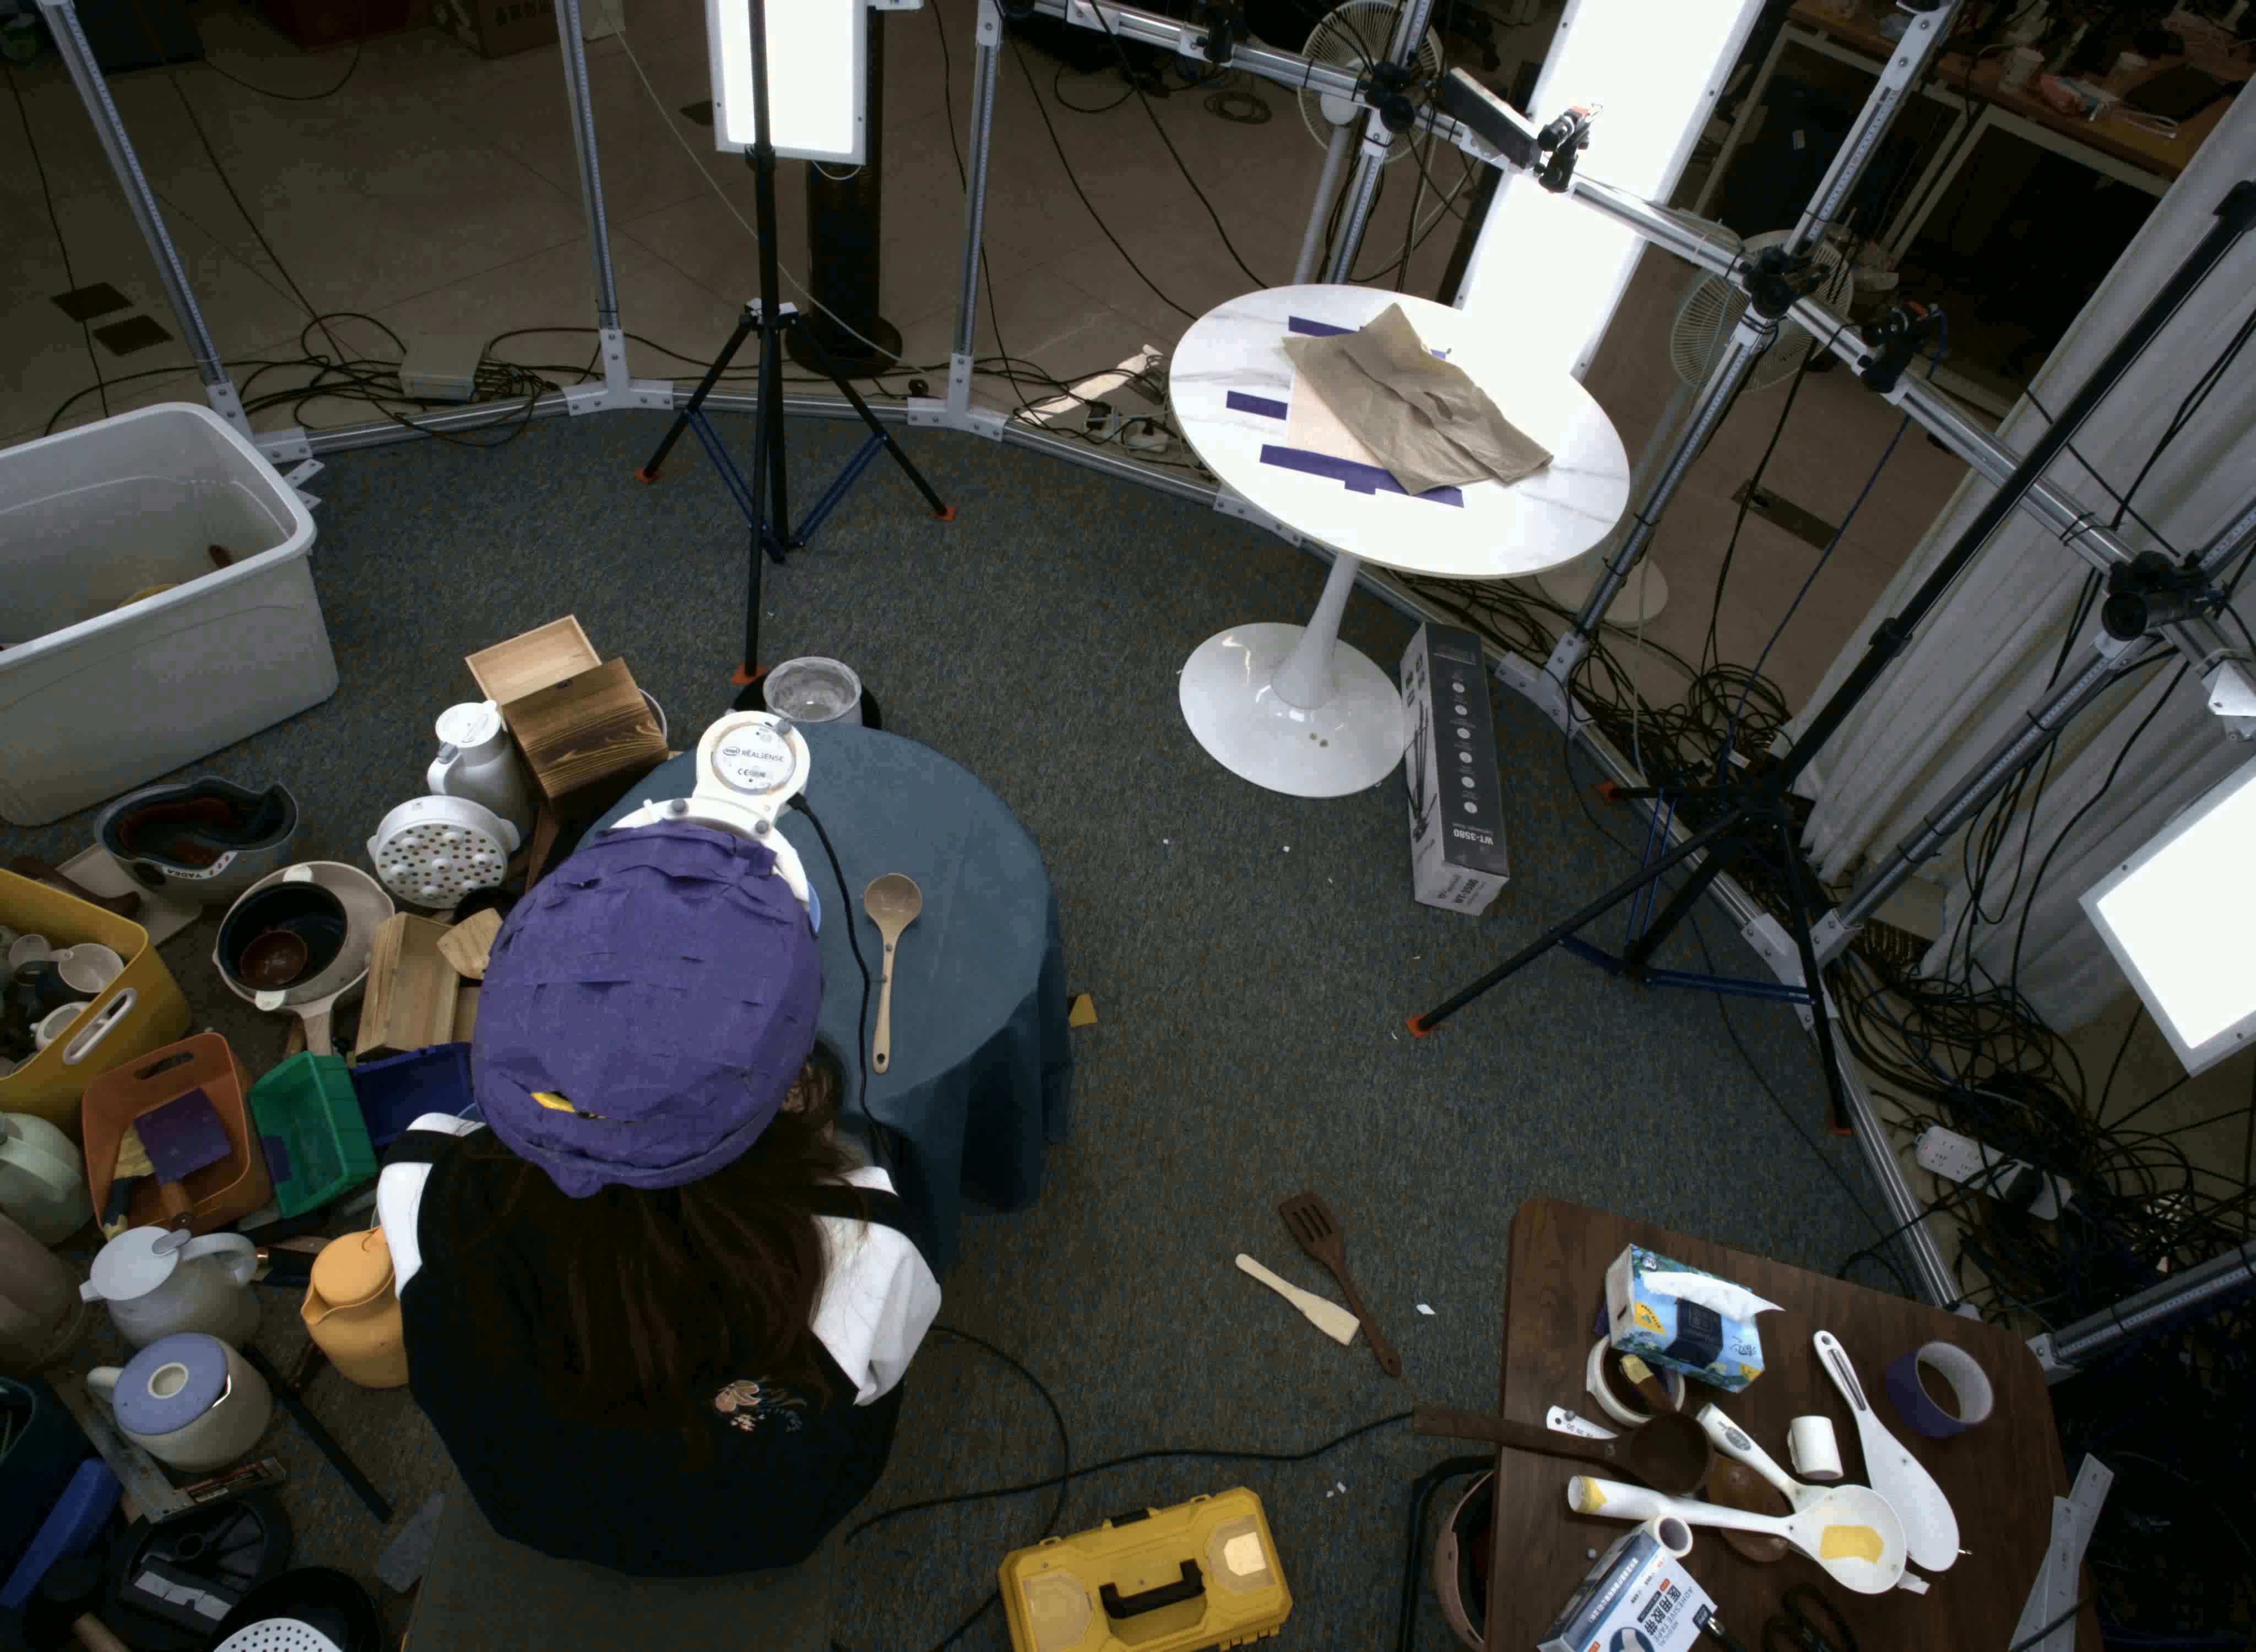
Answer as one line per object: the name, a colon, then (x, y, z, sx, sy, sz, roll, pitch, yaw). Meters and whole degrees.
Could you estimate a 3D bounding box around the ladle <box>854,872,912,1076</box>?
ladle: (-0.299, 0.169, 1.578, 0.072, 0.074, 0.249, 2, 53, -12)

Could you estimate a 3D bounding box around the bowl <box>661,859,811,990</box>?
bowl: (-0.471, 0.128, 1.565, 0.175, 0.072, 0.173, 7, 52, -8)
